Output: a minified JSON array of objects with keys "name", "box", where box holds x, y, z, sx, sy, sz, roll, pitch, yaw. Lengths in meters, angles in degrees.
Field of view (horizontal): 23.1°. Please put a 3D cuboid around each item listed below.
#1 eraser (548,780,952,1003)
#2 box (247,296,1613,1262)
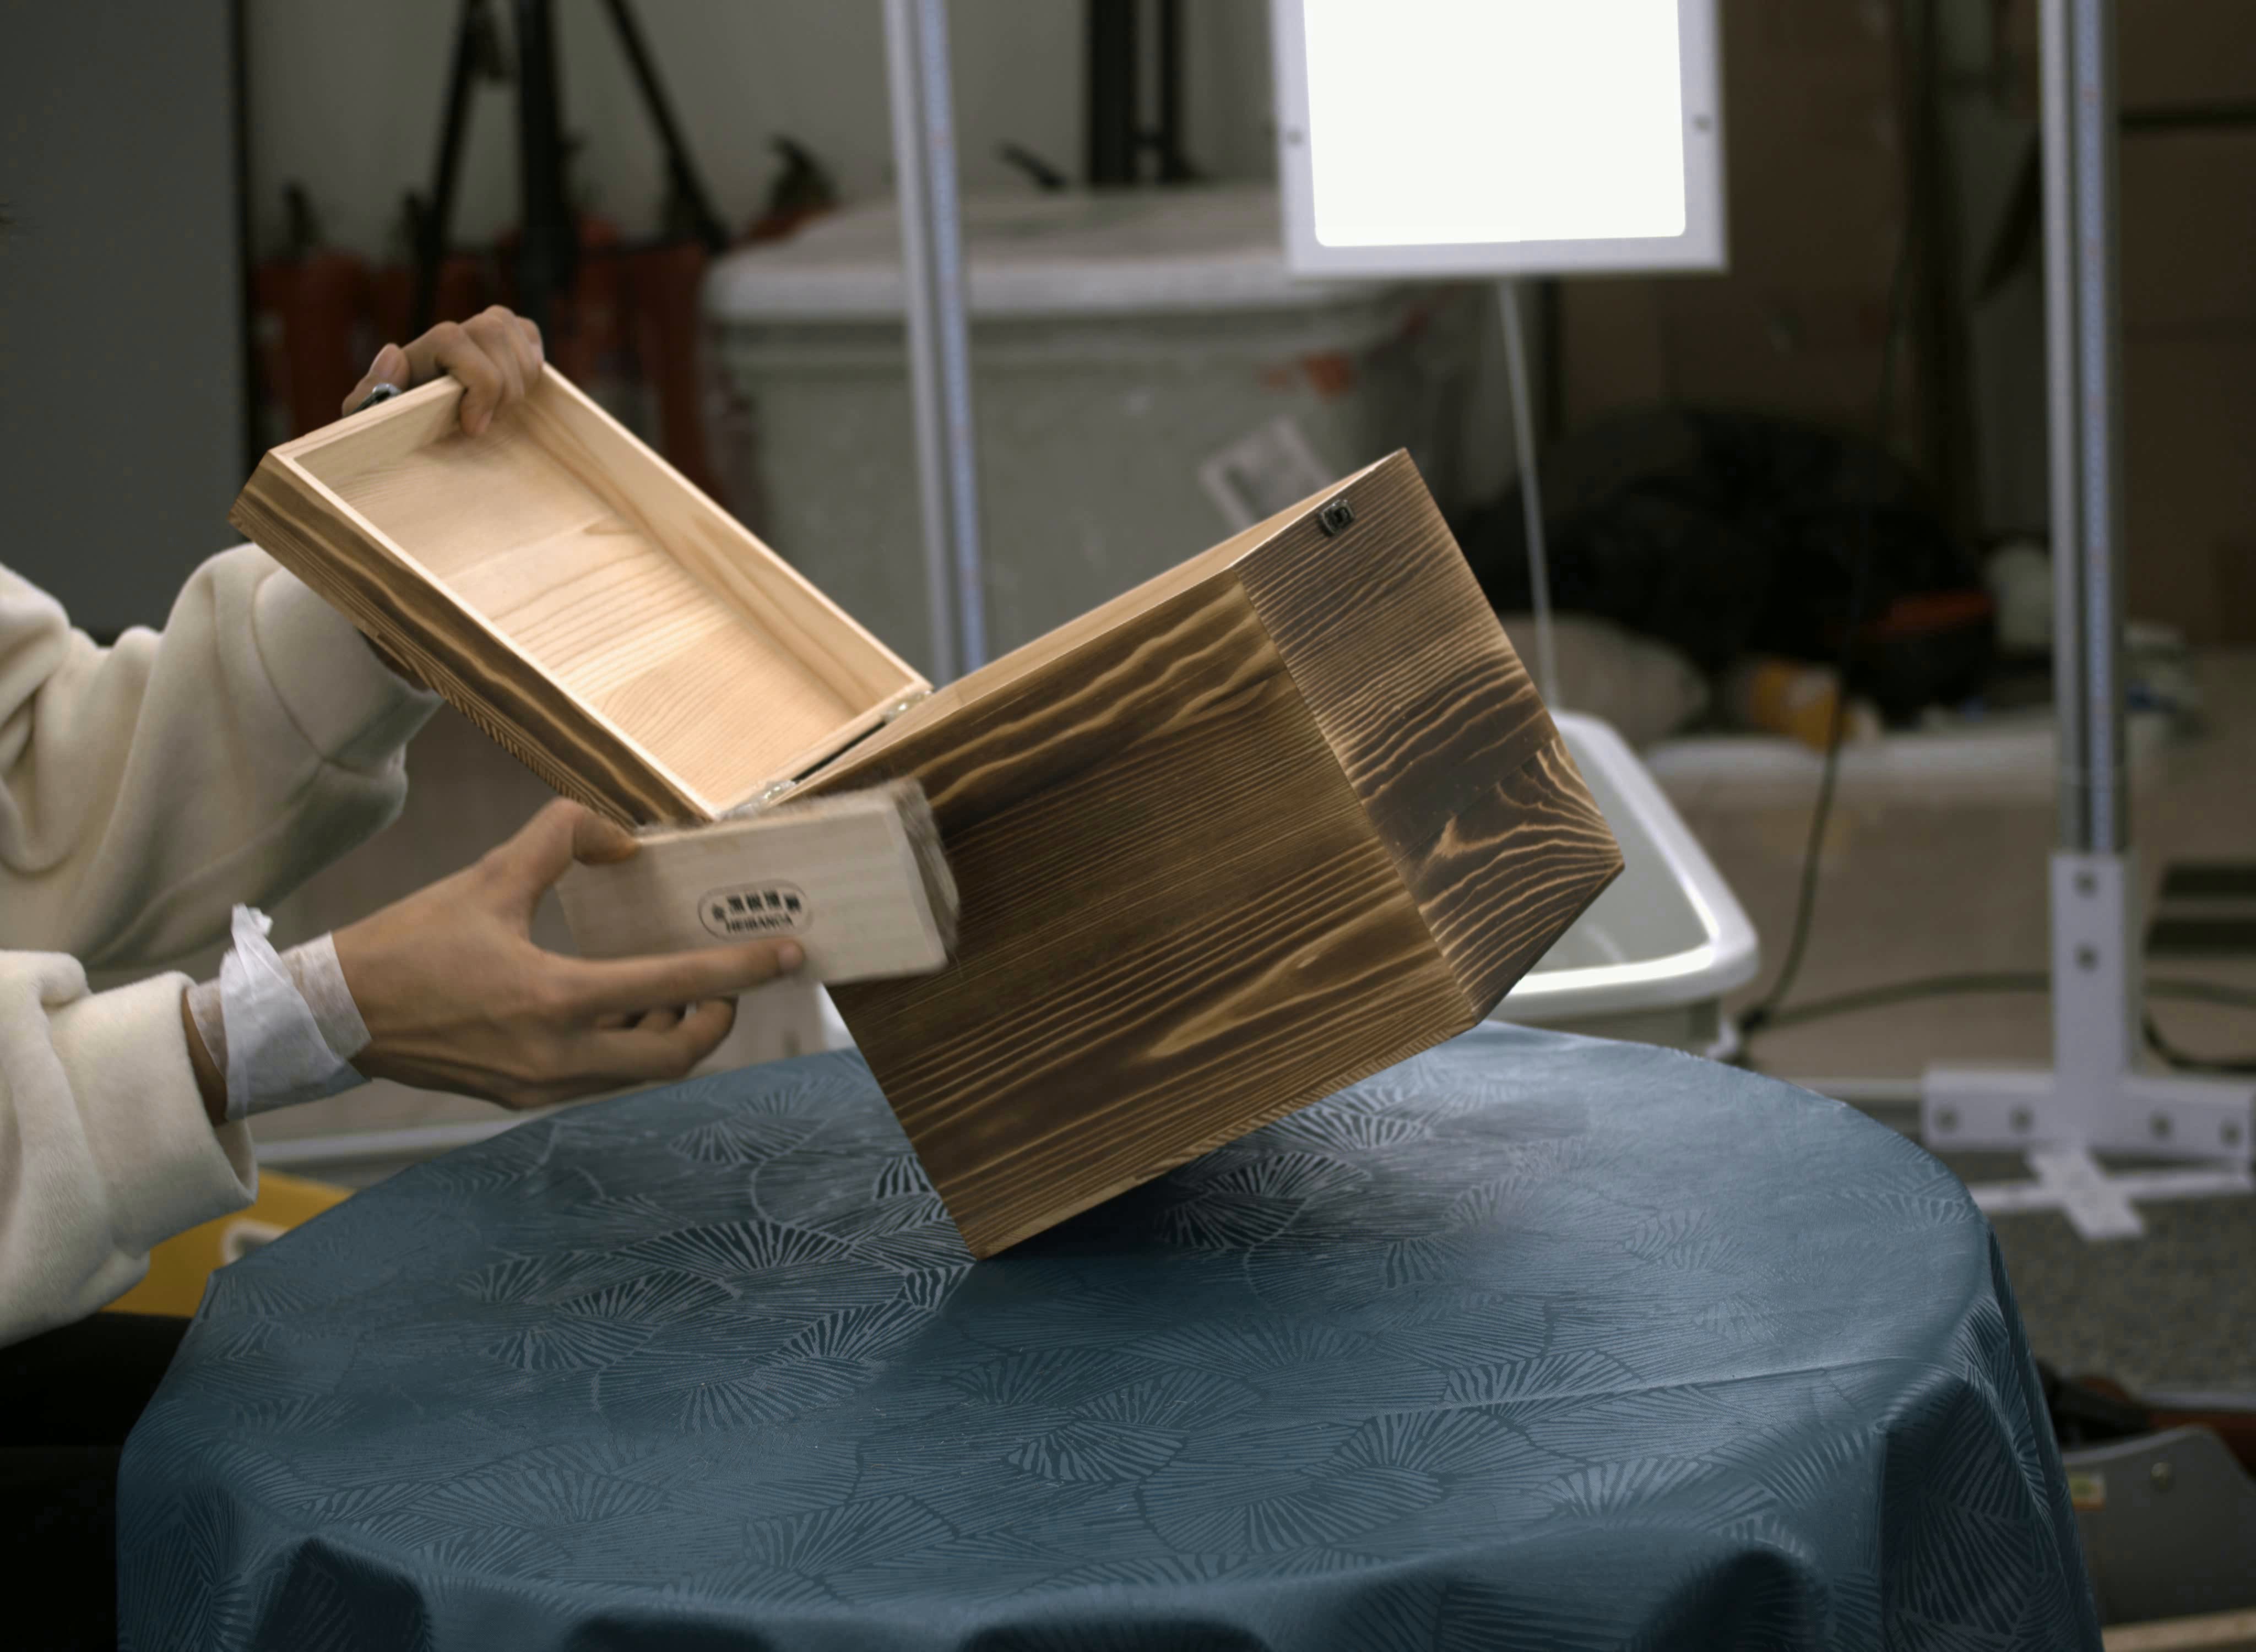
[{"name":"eraser","box":[-0.121,0.021,1.793,0.142,0.057,0.028,-8,16,37]},{"name":"box","box":[-0.066,-0.058,1.894,0.327,0.375,0.205,-26,5,25]}]
